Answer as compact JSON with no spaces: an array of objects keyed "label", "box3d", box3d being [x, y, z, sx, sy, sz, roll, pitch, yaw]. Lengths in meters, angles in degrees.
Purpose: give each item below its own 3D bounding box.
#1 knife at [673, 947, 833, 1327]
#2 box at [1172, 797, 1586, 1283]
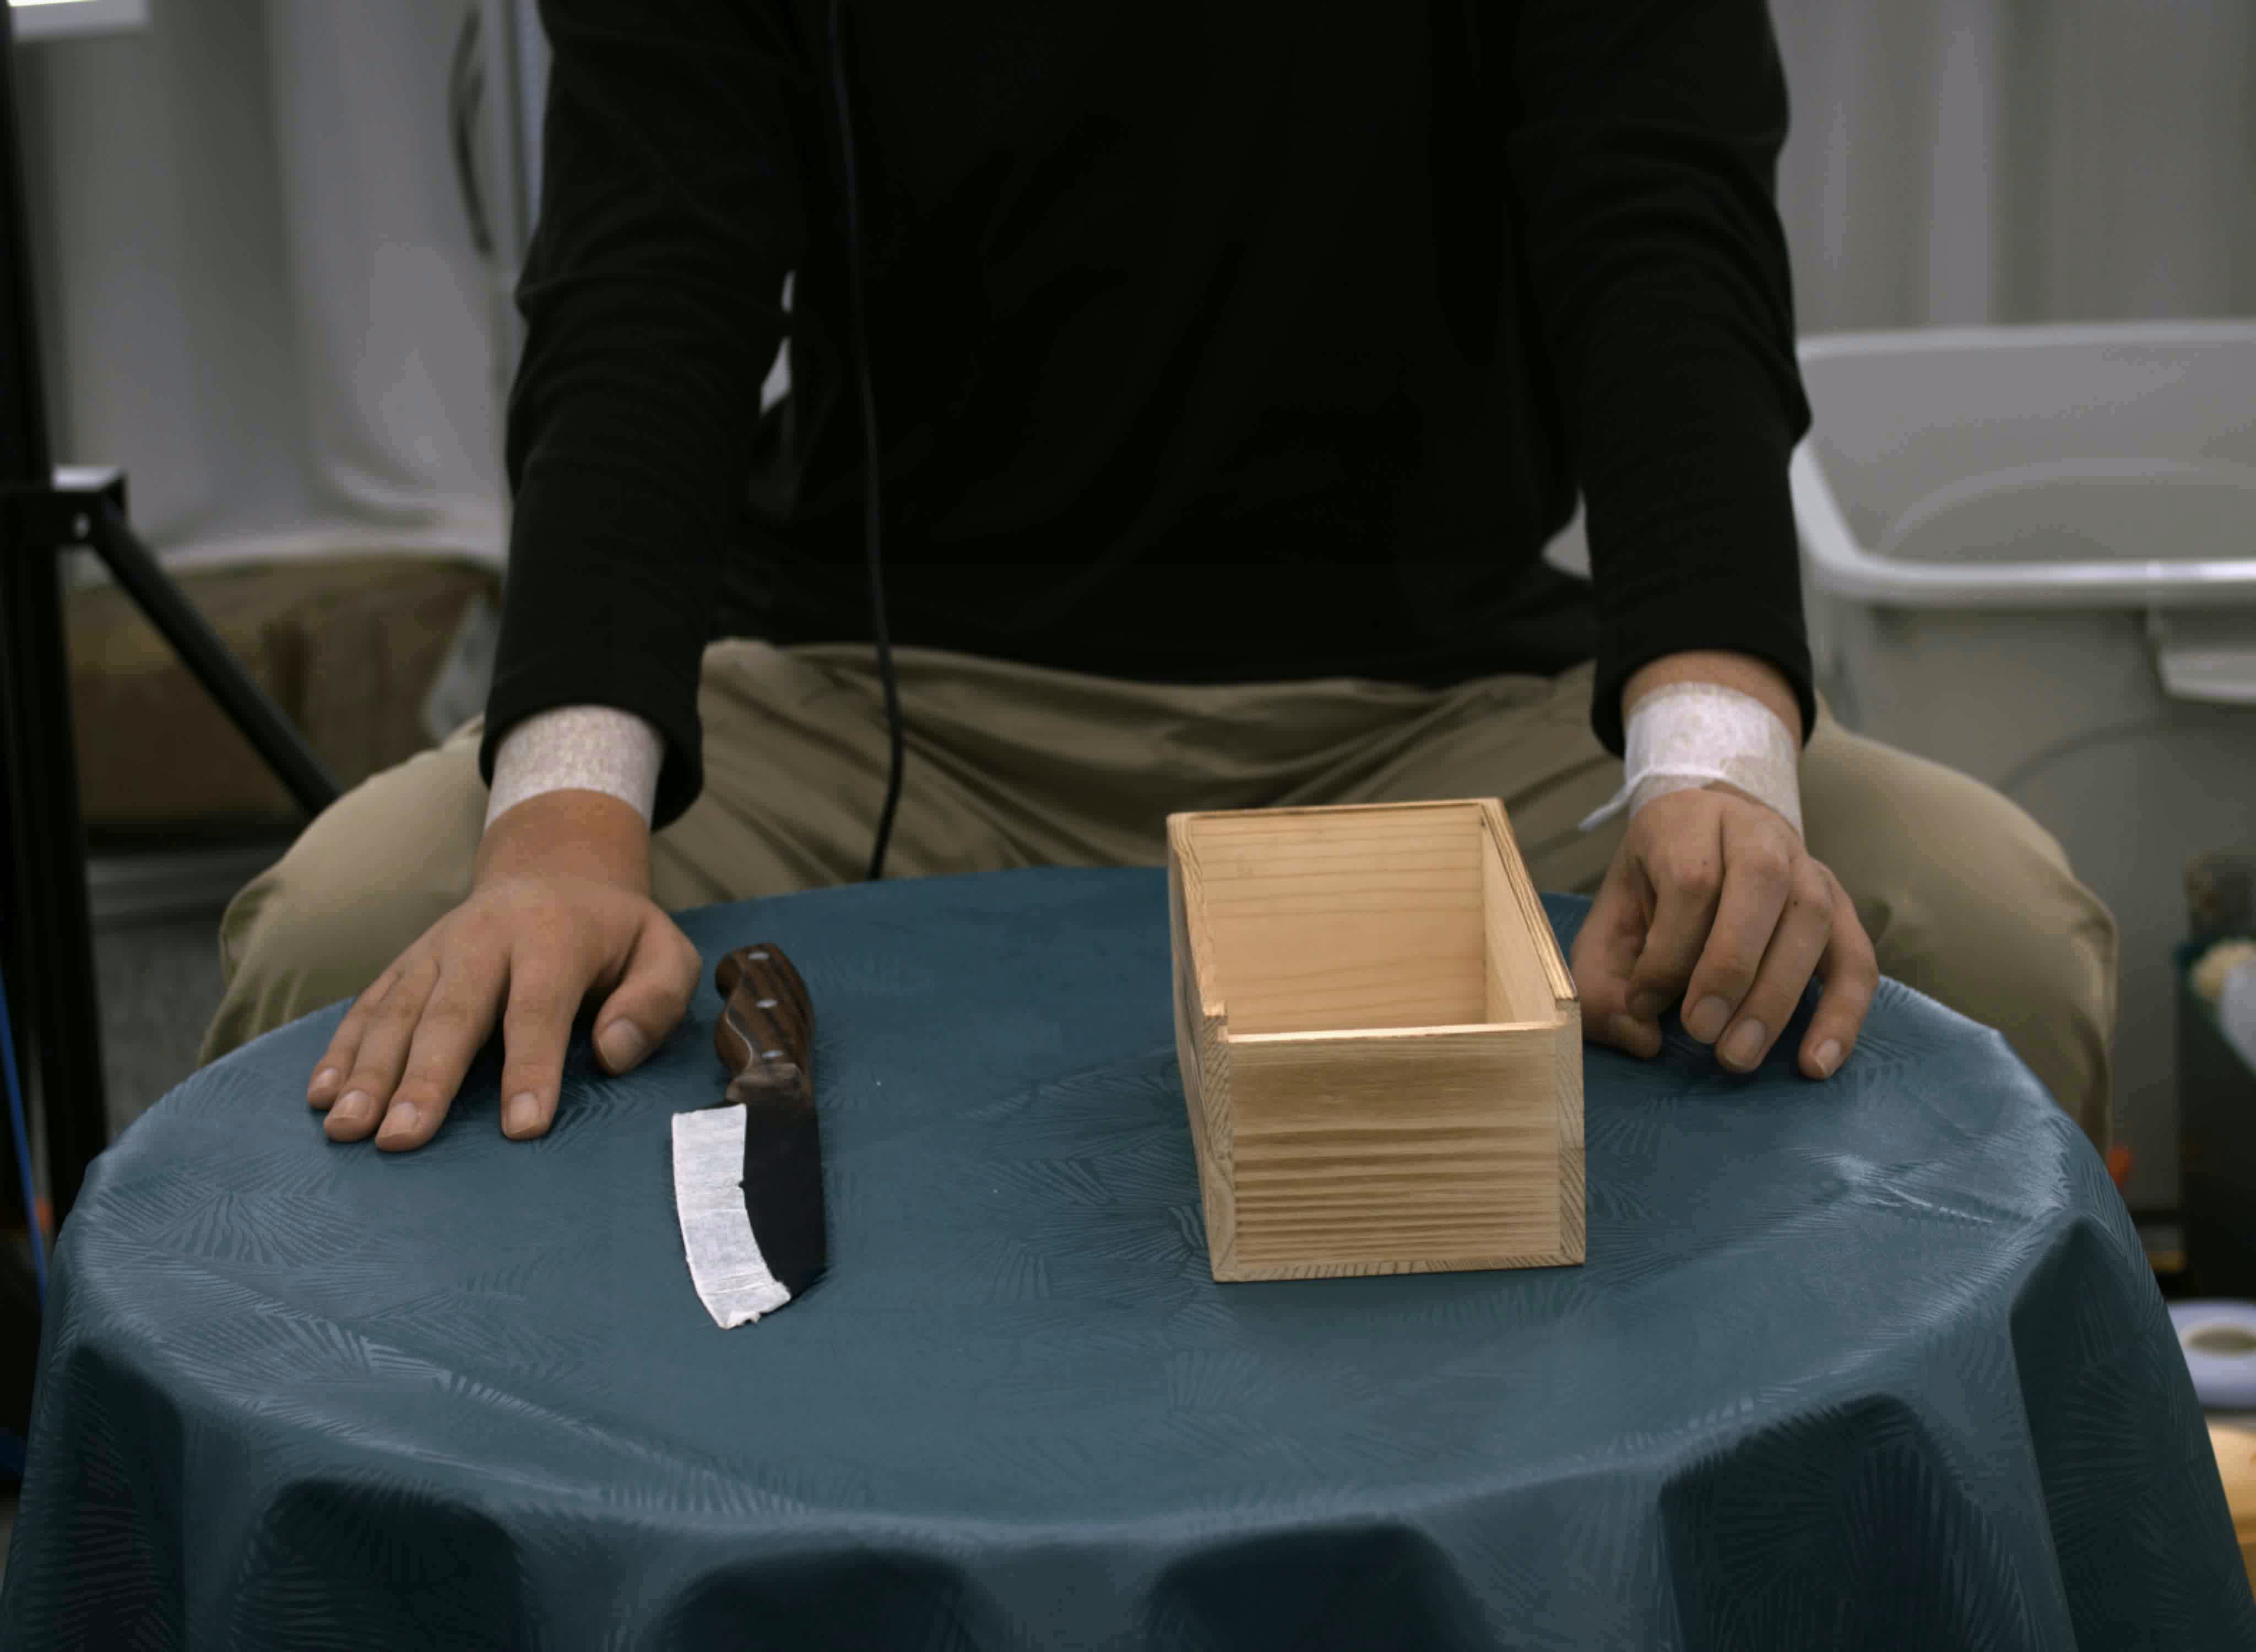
[{"label":"knife","box3d":[-0.112,0.093,1.603,0.050,0.020,0.291,-8,18,0]},{"label":"box","box3d":[0.071,0.060,1.571,0.107,0.080,0.212,-2,16,-1]}]
